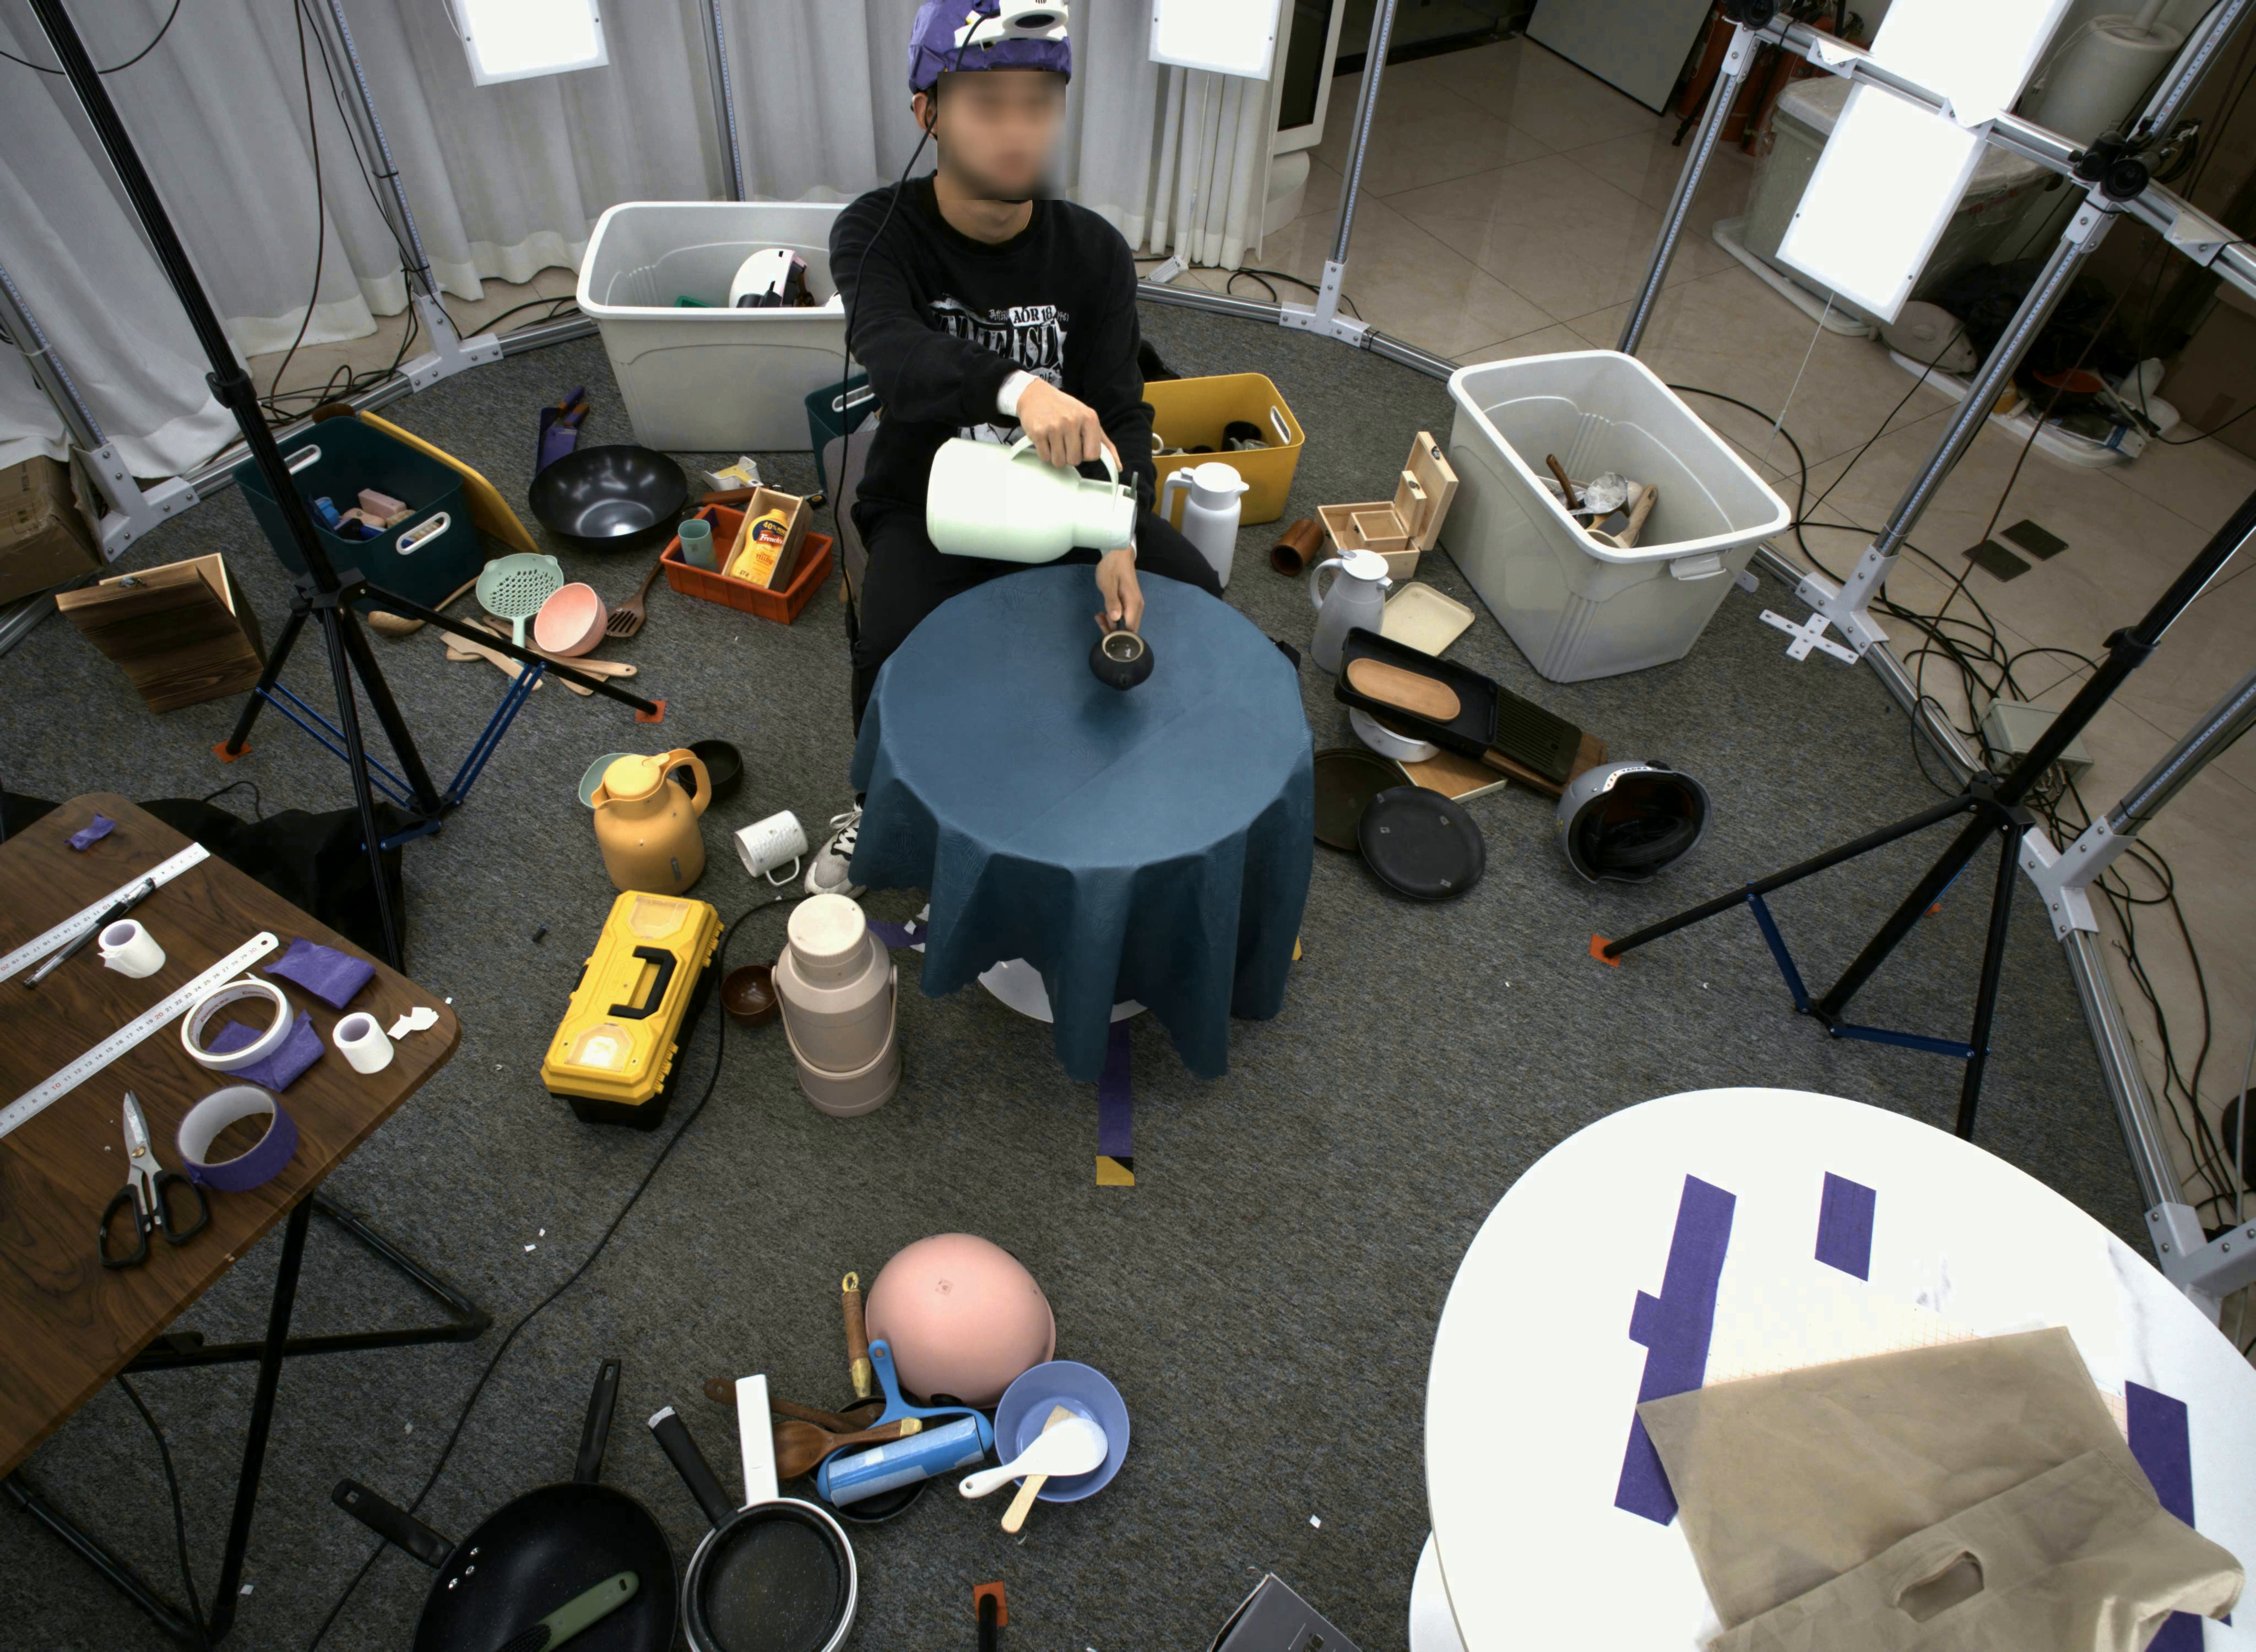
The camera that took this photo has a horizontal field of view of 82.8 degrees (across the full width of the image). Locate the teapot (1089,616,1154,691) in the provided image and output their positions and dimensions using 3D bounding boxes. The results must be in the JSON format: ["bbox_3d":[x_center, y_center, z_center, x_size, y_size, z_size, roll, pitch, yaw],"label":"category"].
[{"bbox_3d":[-0.008,-0.233,1.779,0.091,0.052,0.136,1,55,-5],"label":"teapot"}]

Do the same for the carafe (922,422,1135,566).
[{"bbox_3d":[-0.119,-0.415,1.609,0.257,0.182,0.147,7,45,6],"label":"carafe"}]
